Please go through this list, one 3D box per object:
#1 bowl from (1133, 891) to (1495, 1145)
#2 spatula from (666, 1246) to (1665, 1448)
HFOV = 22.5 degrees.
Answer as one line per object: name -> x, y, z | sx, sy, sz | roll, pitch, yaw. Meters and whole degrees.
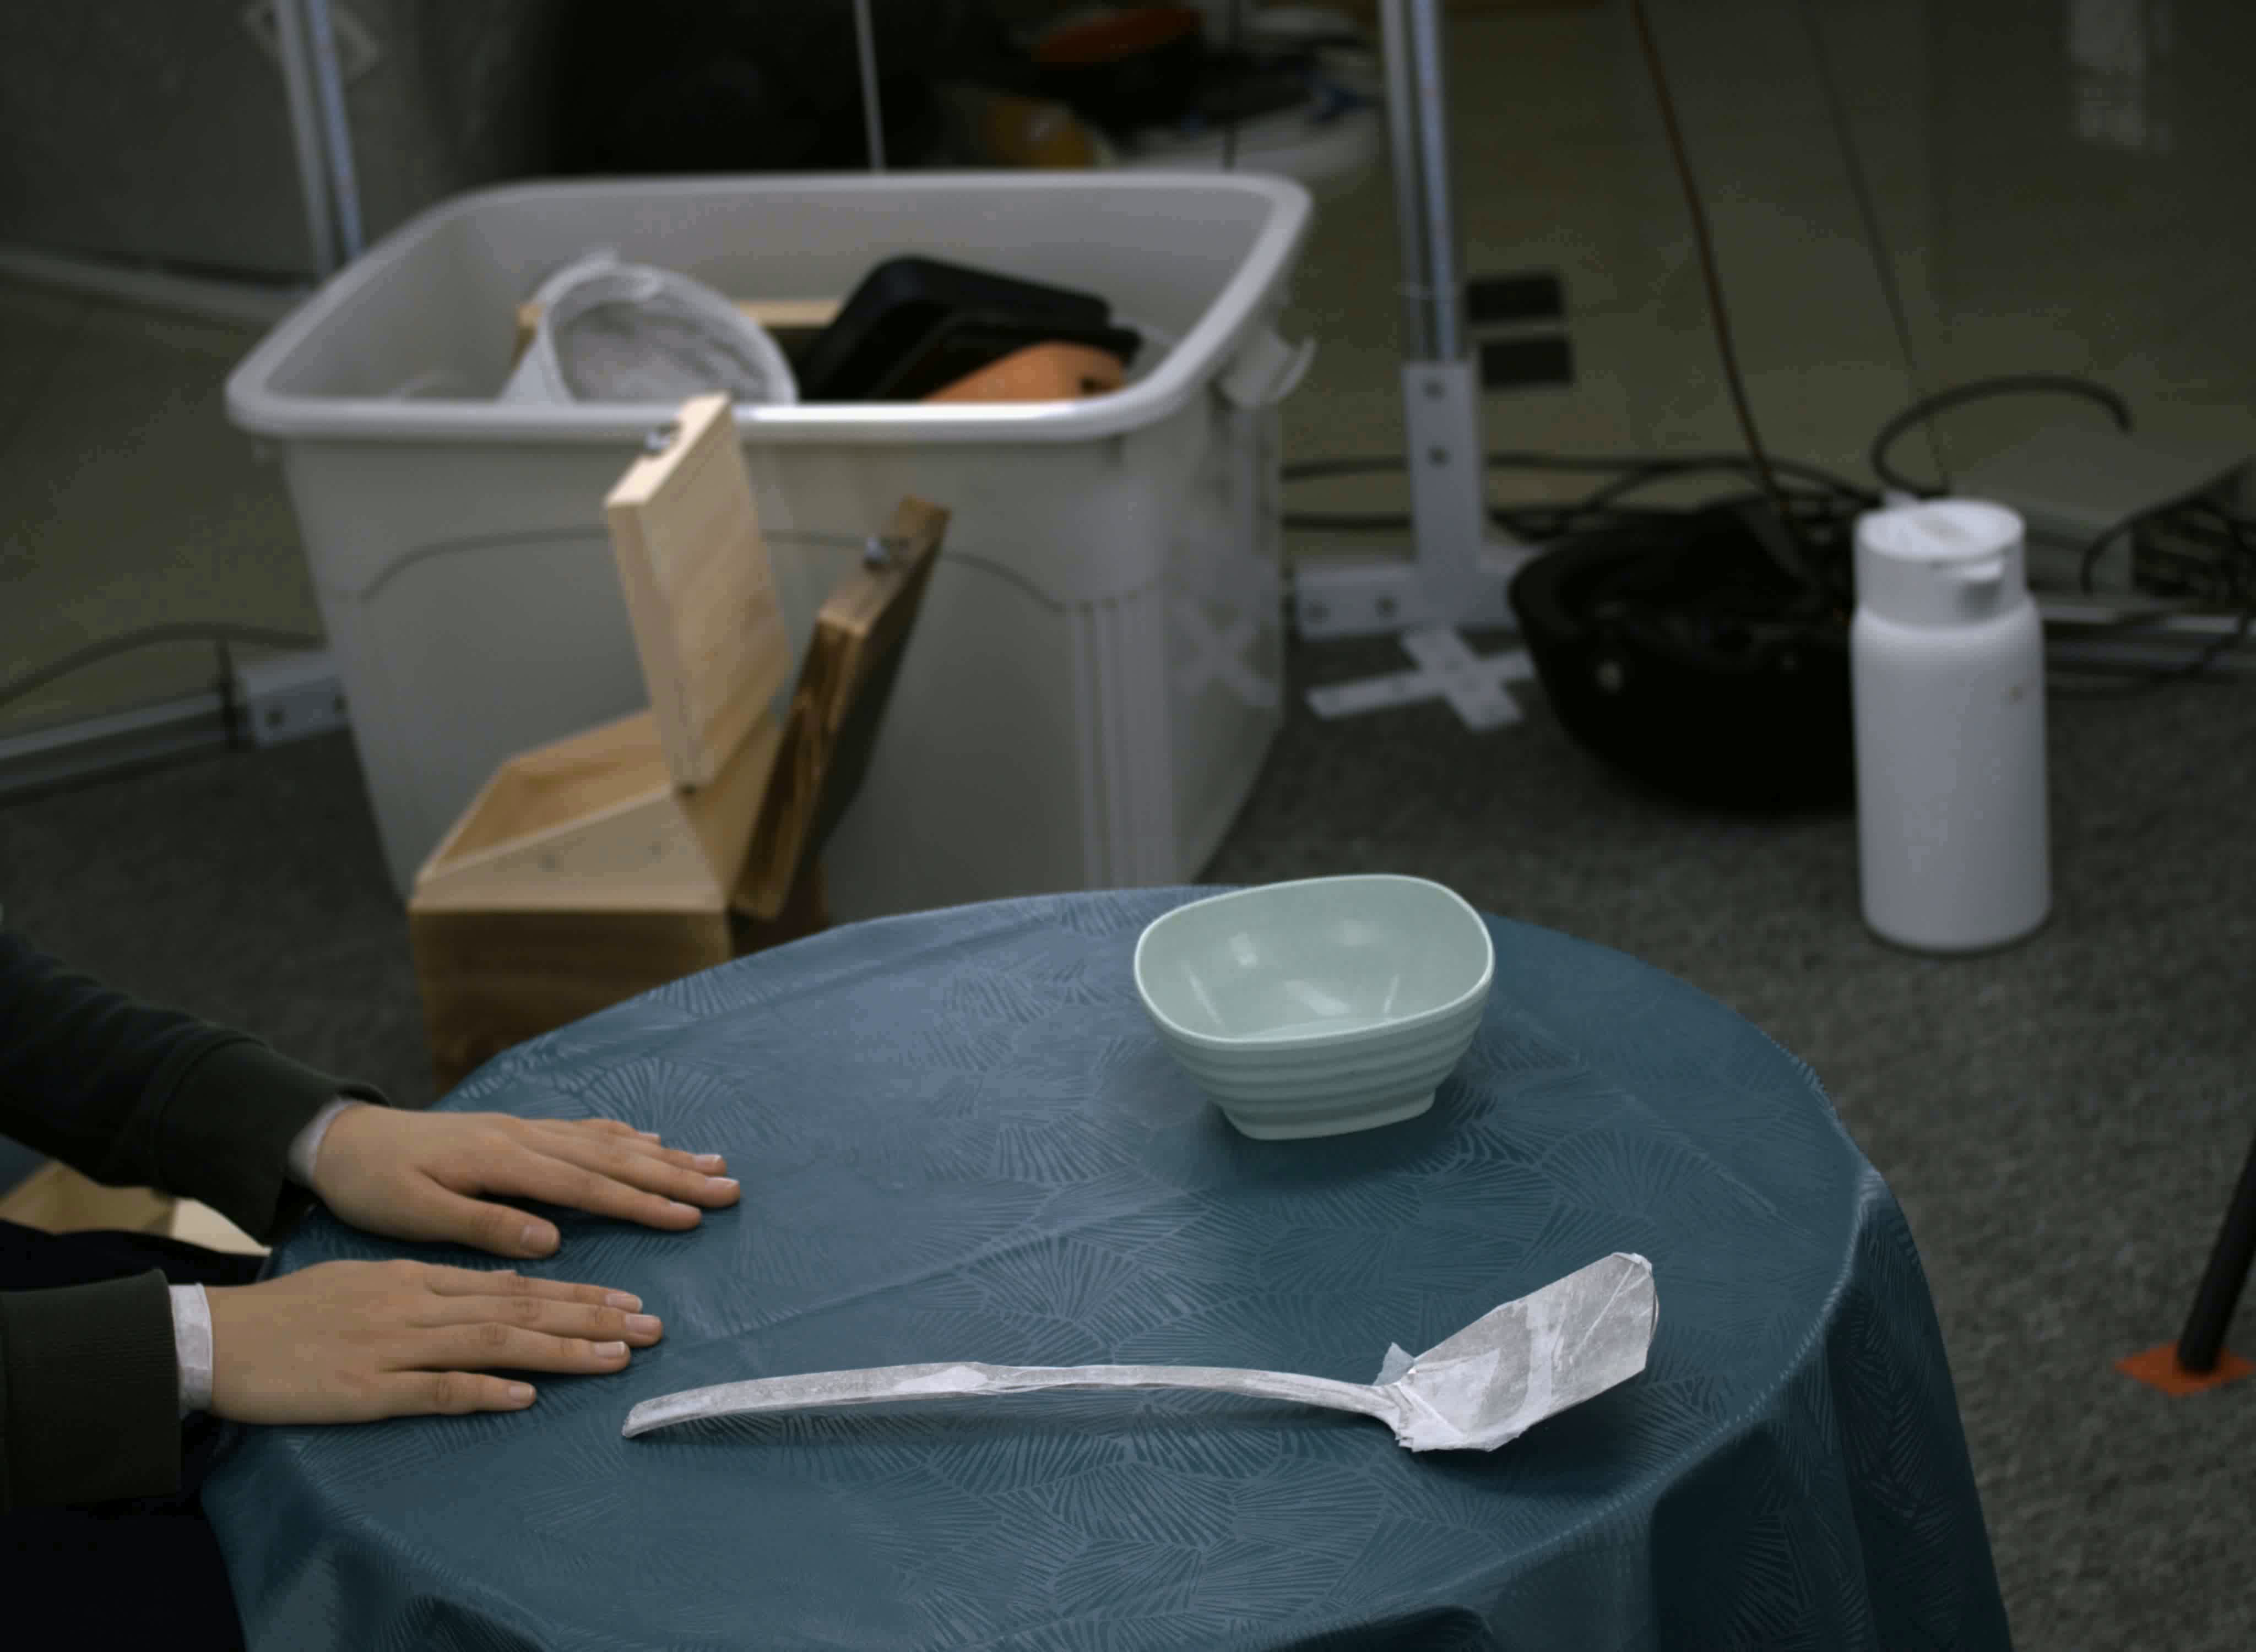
bowl -> 0.074, 0.079, 2.199 | 0.151, 0.059, 0.149 | -5, 22, 2
spatula -> 0.007, 0.189, 1.997 | 0.364, 0.045, 0.097 | -1, 27, 11
